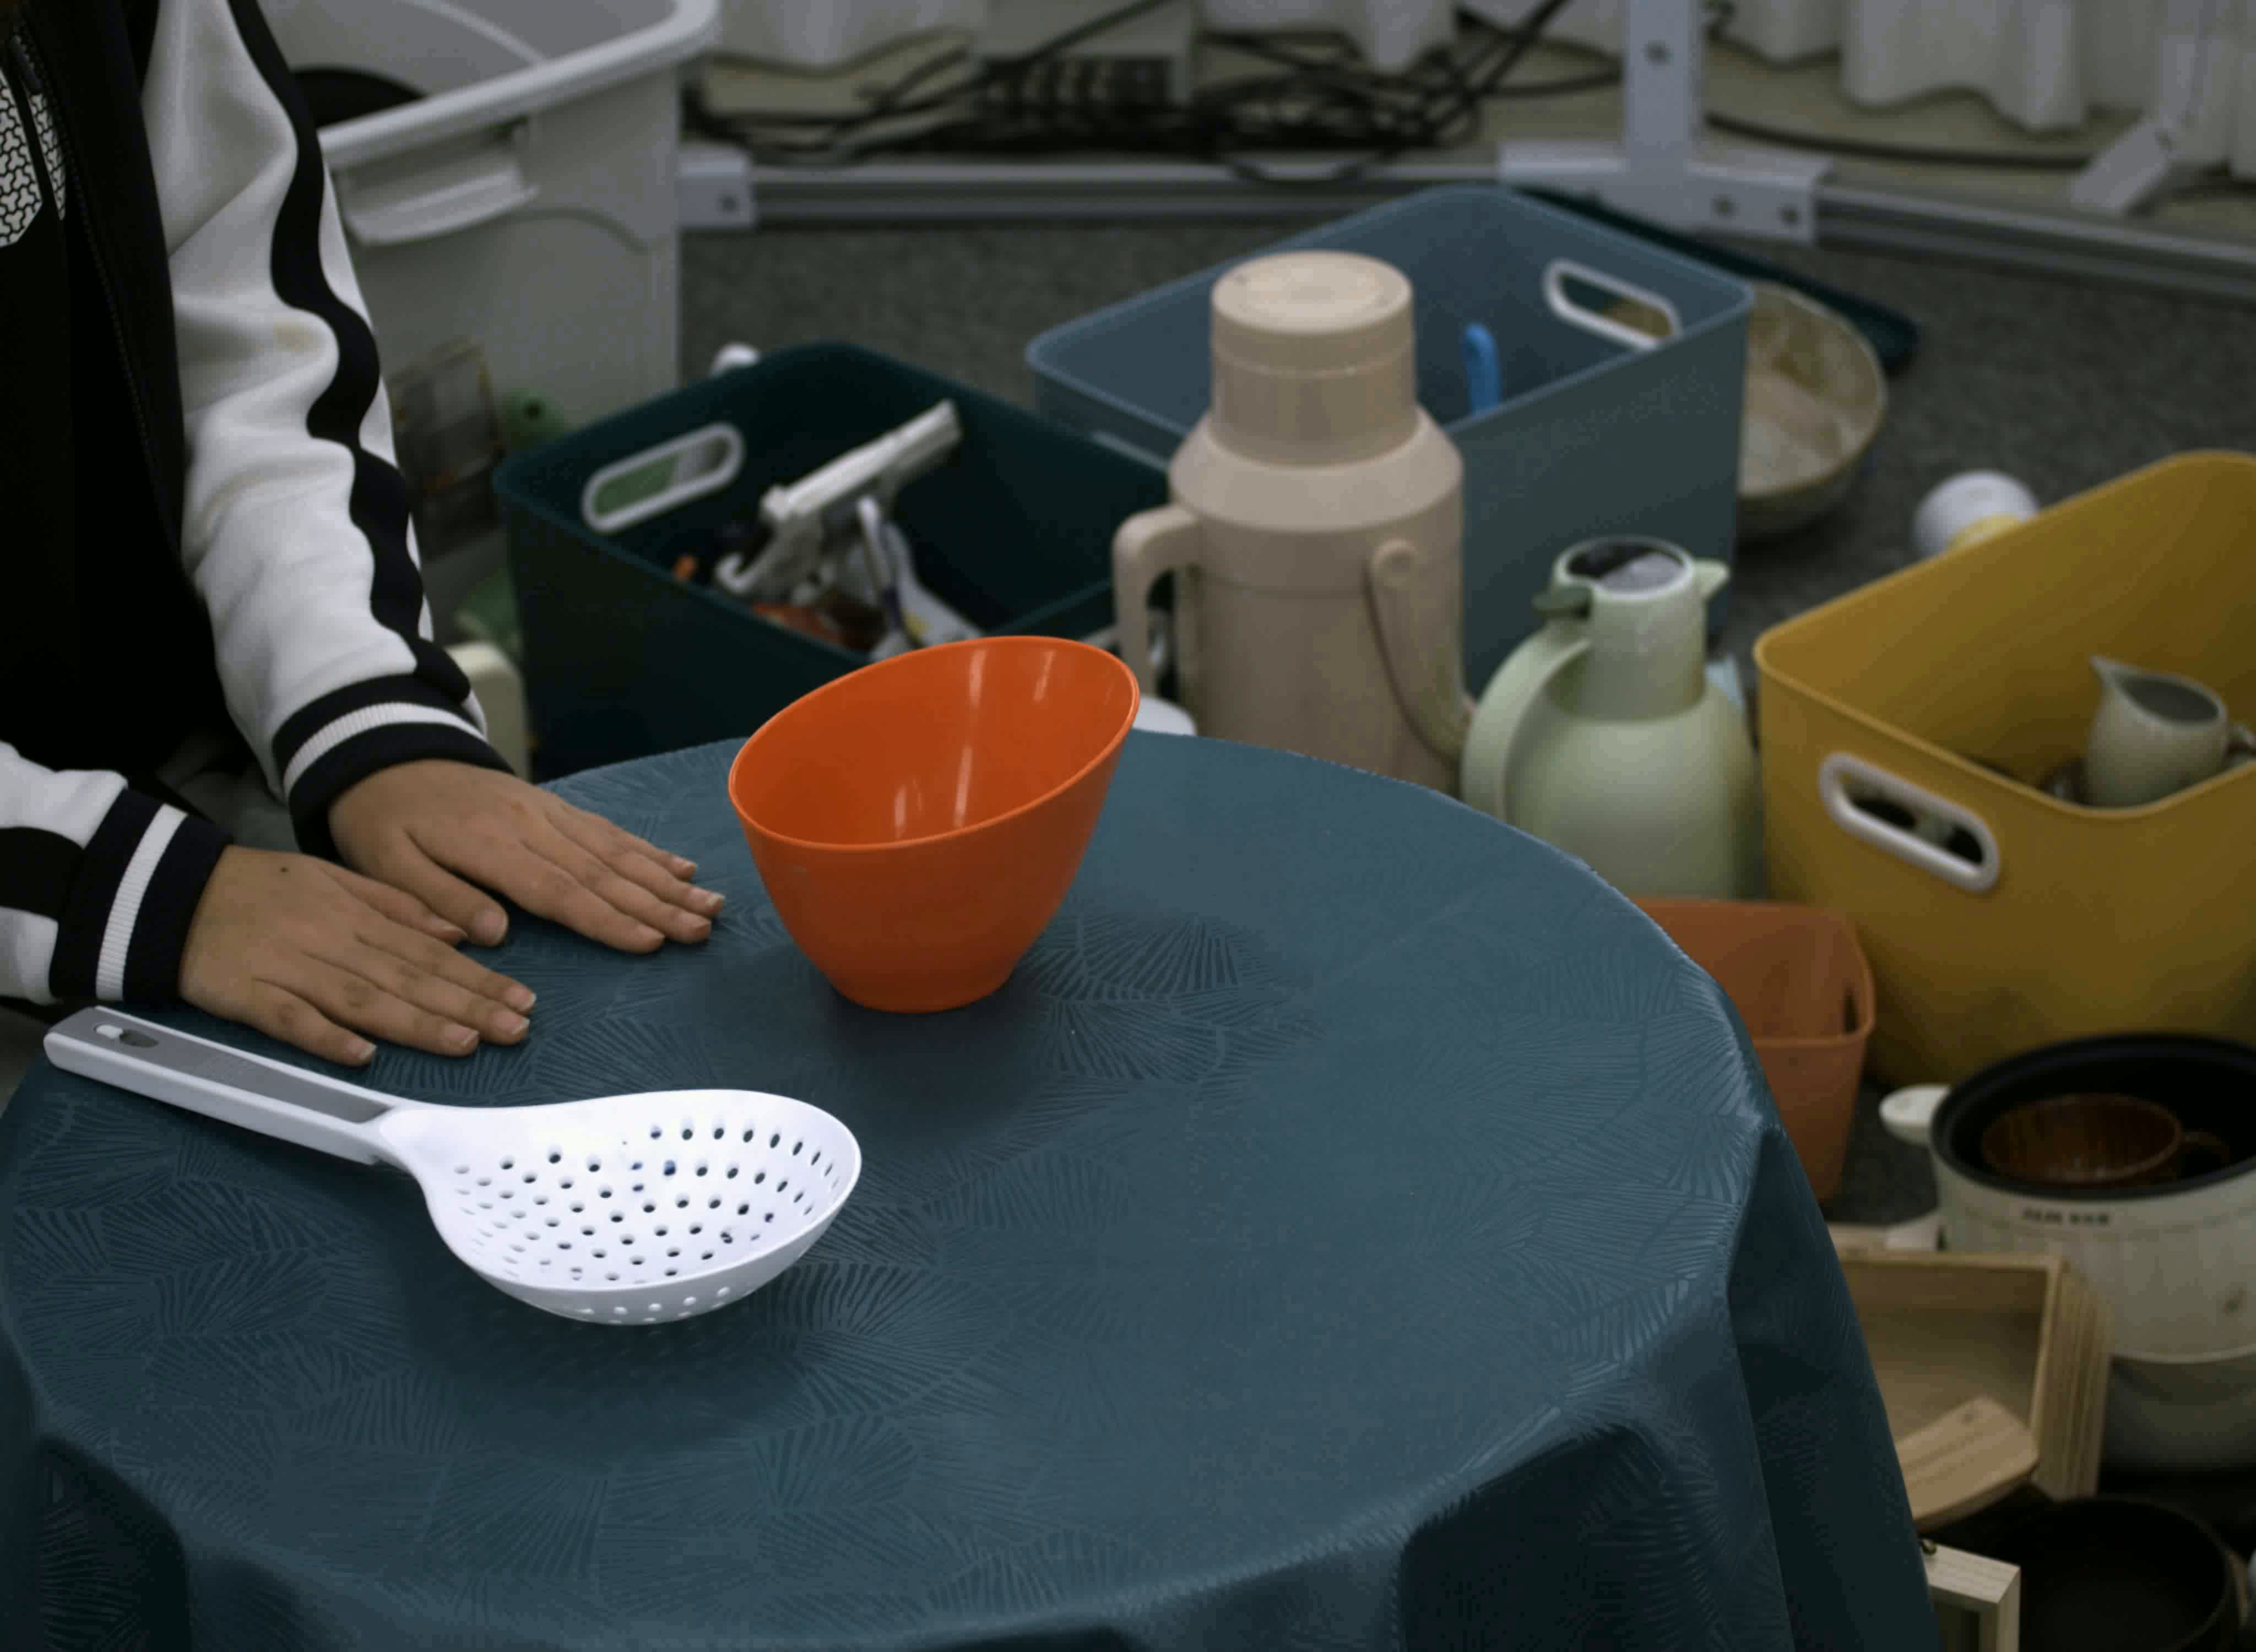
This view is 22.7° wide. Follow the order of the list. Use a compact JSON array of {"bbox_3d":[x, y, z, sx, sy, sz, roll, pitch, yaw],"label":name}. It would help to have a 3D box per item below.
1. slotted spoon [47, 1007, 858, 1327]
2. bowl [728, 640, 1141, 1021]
[{"bbox_3d":[-0.237,0.105,1.869,0.348,0.045,0.138,17,32,35],"label":"slotted spoon"},{"bbox_3d":[-0.065,0.007,1.982,0.147,0.103,0.150,-3,28,2],"label":"bowl"}]
